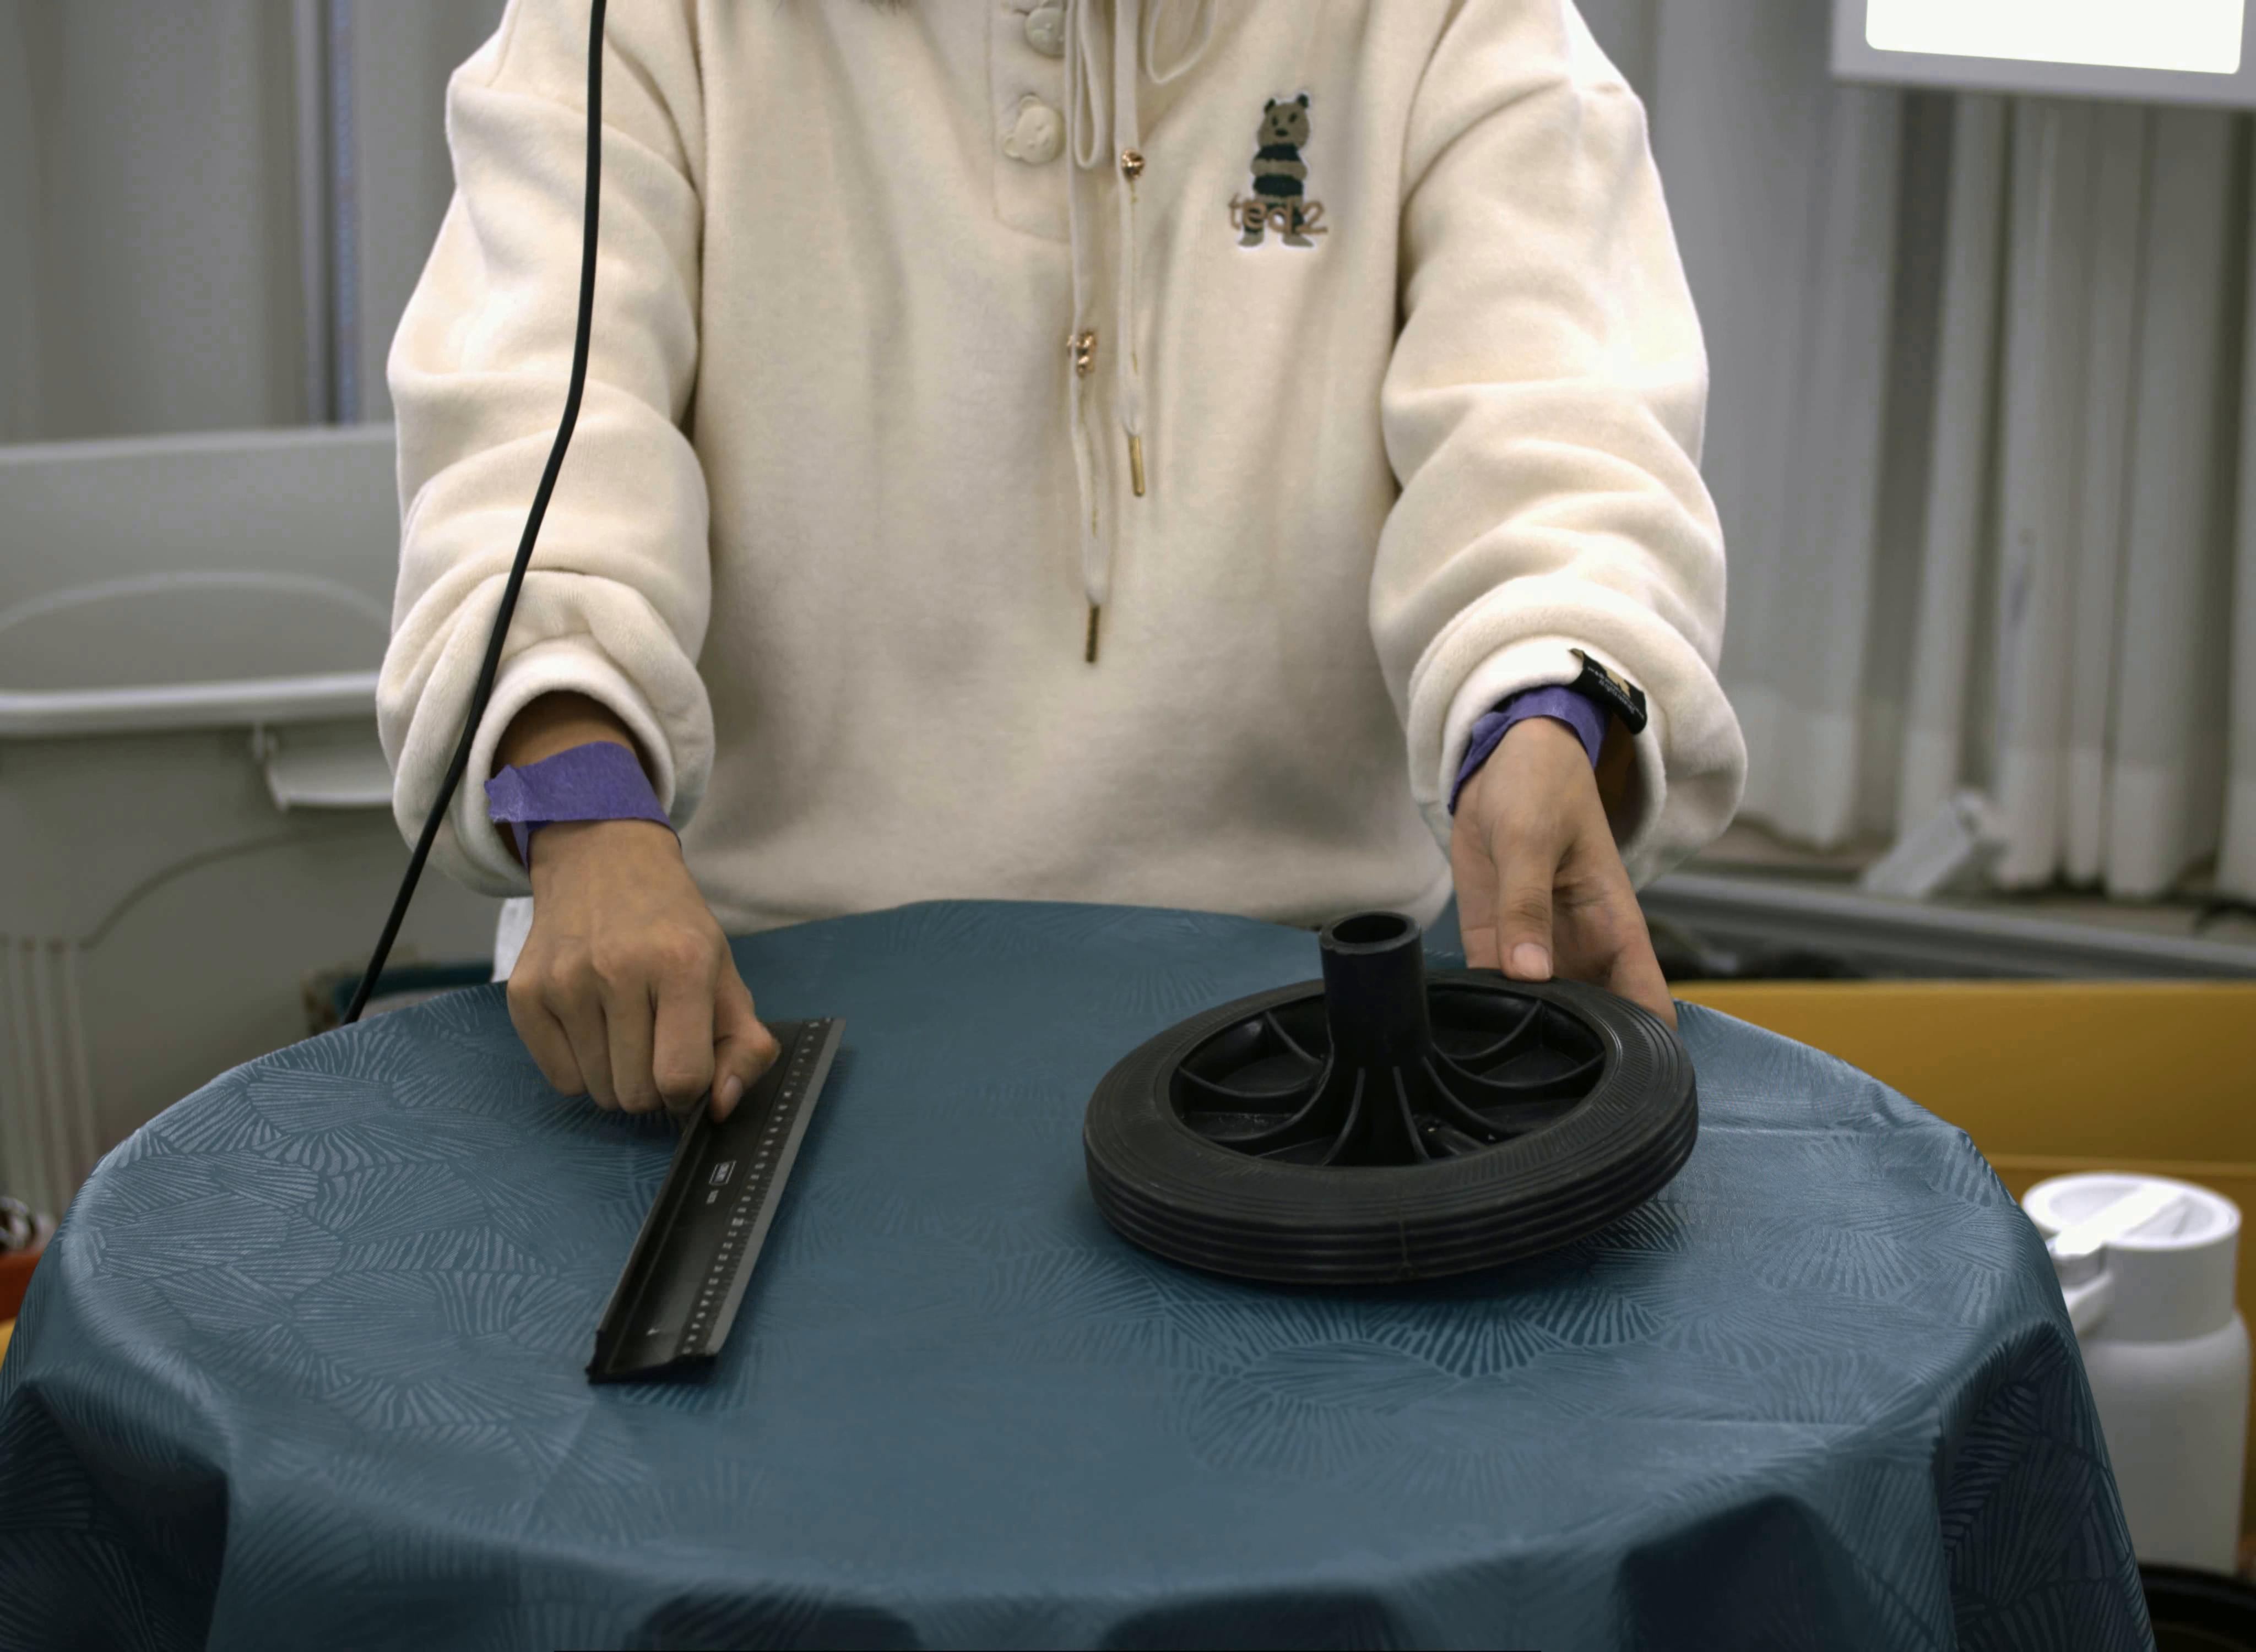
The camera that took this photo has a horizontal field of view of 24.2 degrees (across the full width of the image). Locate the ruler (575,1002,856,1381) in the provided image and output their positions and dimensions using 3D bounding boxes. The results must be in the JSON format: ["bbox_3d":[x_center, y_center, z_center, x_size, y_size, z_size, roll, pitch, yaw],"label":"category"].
[{"bbox_3d":[-0.123,0.104,1.603,0.039,0.017,0.311,-4,15,6],"label":"ruler"}]

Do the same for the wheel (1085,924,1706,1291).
[{"bbox_3d":[0.079,0.072,1.599,0.187,0.080,0.188,10,27,35],"label":"wheel"}]
